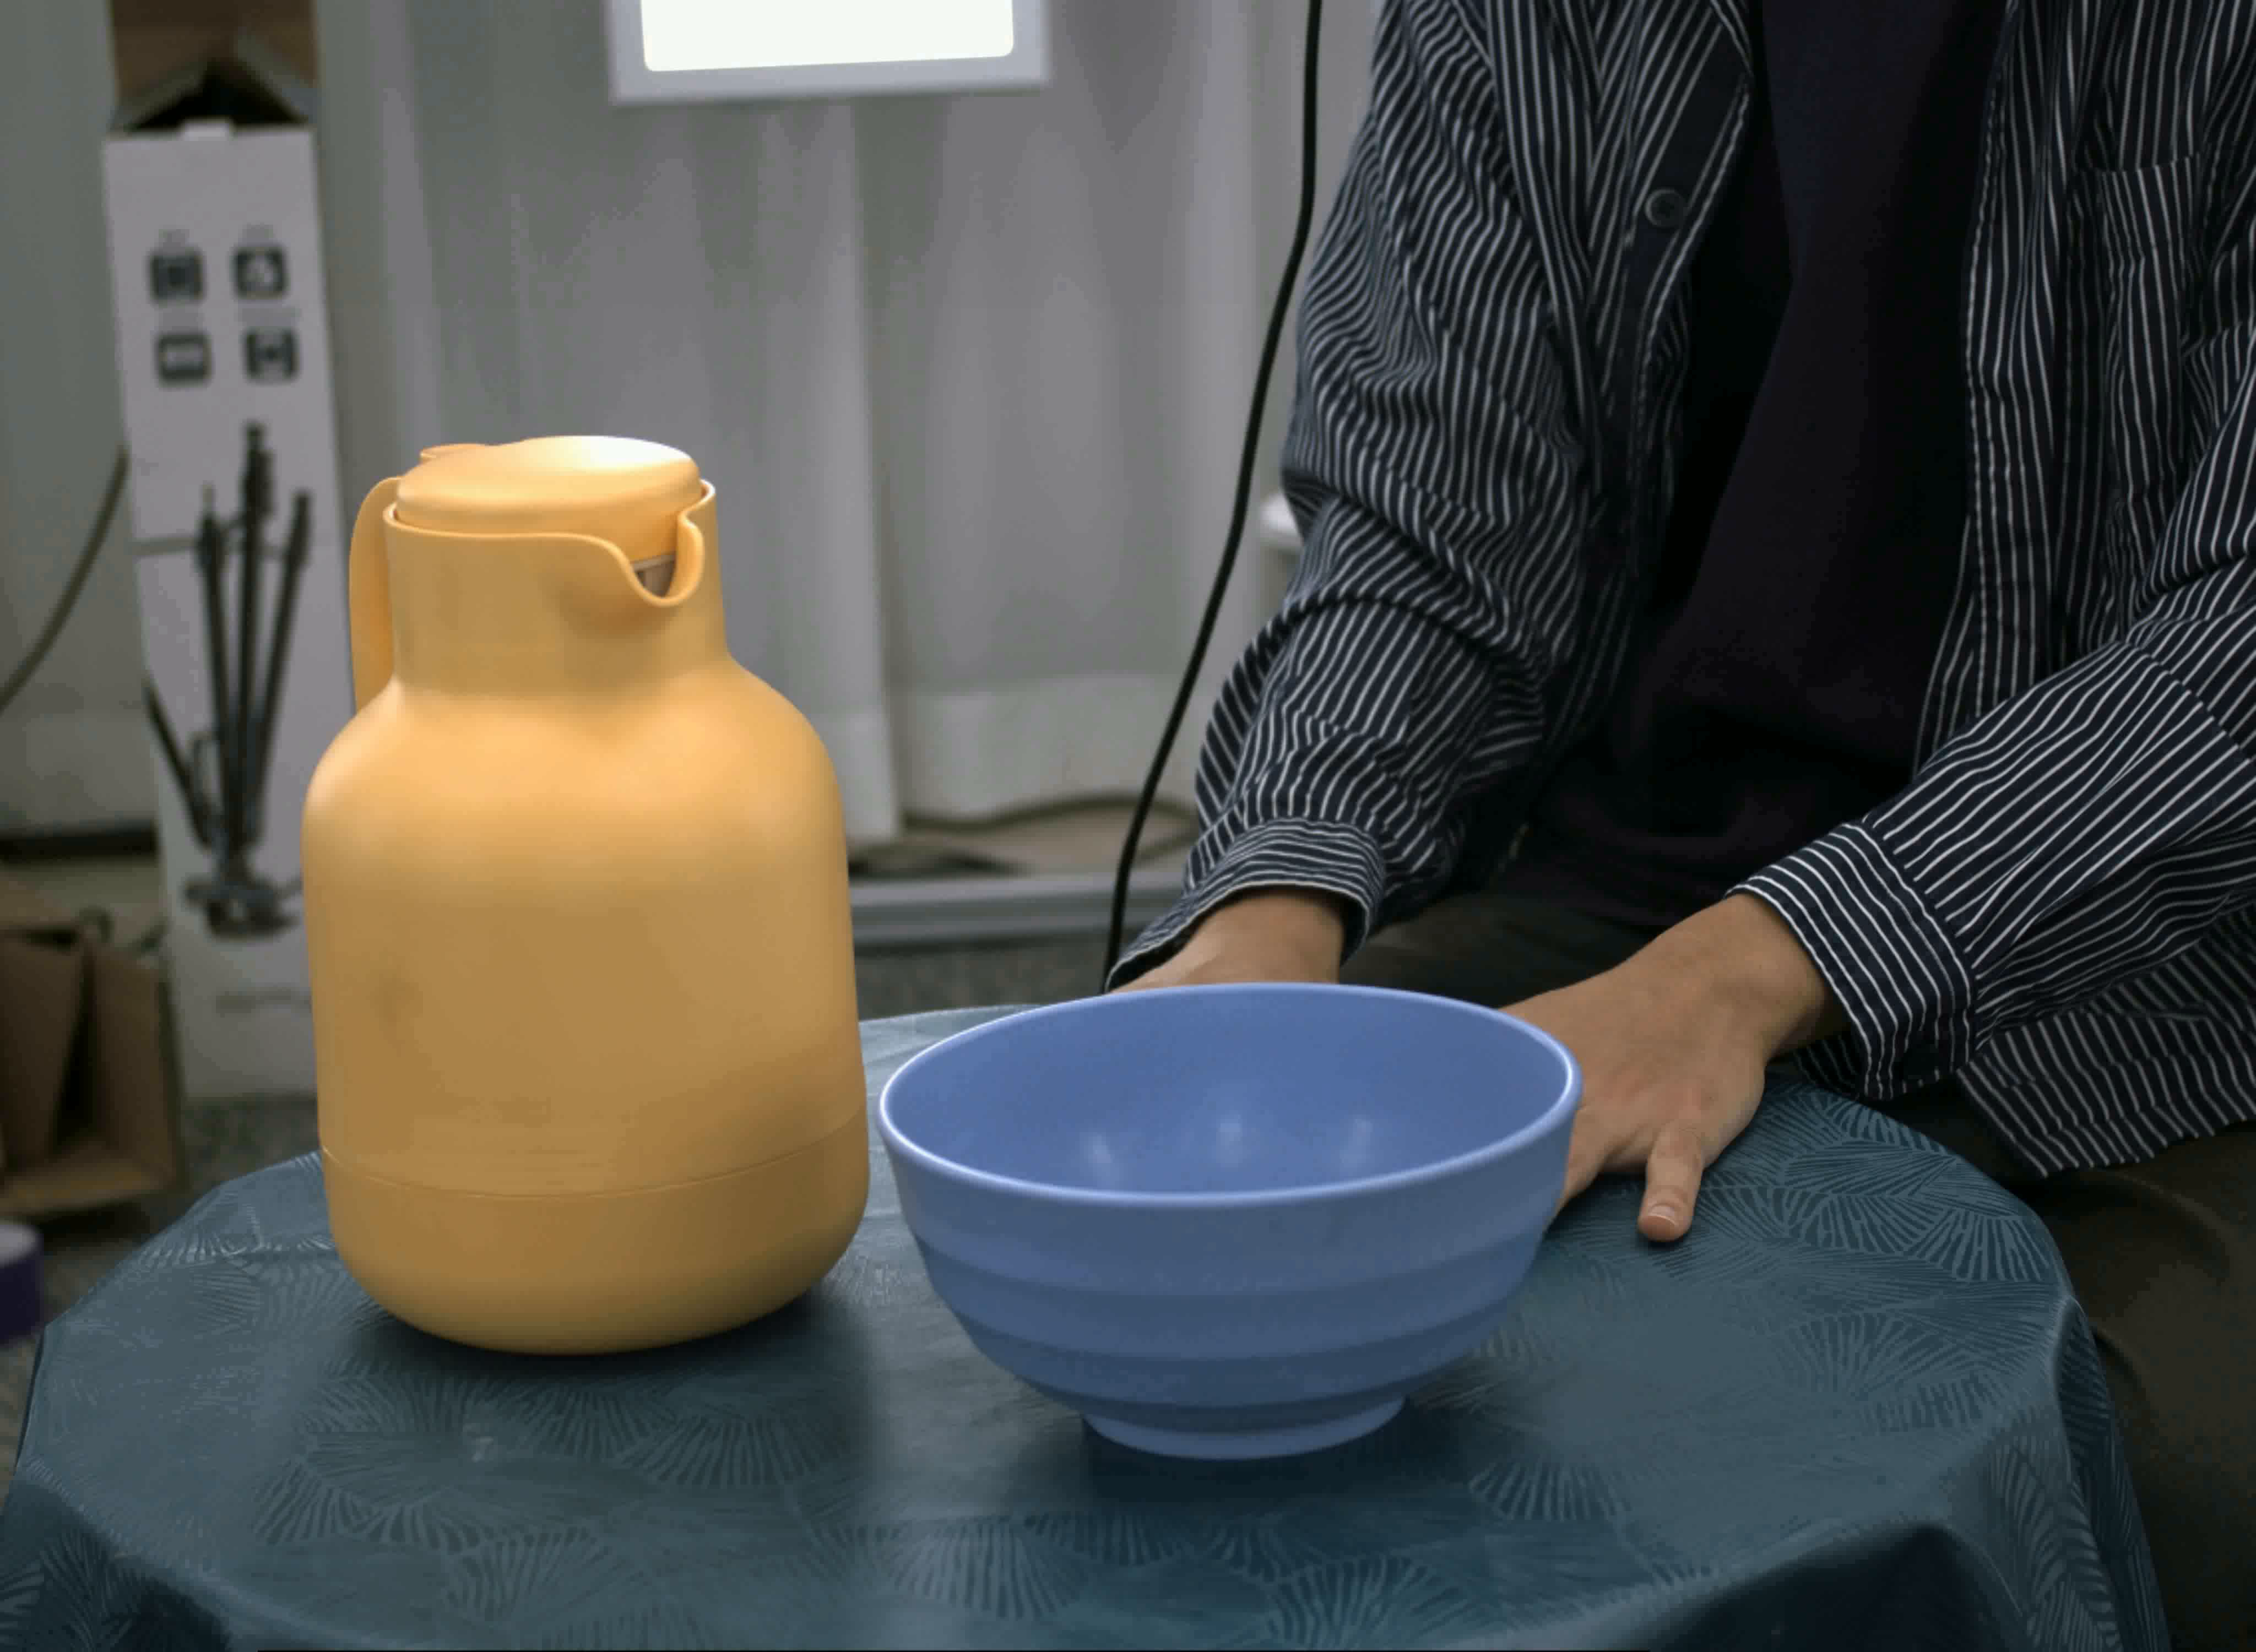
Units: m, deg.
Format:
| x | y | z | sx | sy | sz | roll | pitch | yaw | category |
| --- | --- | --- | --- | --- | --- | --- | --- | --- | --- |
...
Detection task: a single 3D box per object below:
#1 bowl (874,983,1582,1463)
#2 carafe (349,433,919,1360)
| x | y | z | sx | sy | sz | roll | pitch | yaw | category |
| --- | --- | --- | --- | --- | --- | --- | --- | --- | --- |
| 0.030 | 0.116 | 1.522 | 0.196 | 0.095 | 0.198 | -3 | 15 | 1 | bowl |
| -0.157 | 0.013 | 1.630 | 0.163 | 0.259 | 0.204 | -12 | 16 | -31 | carafe |
